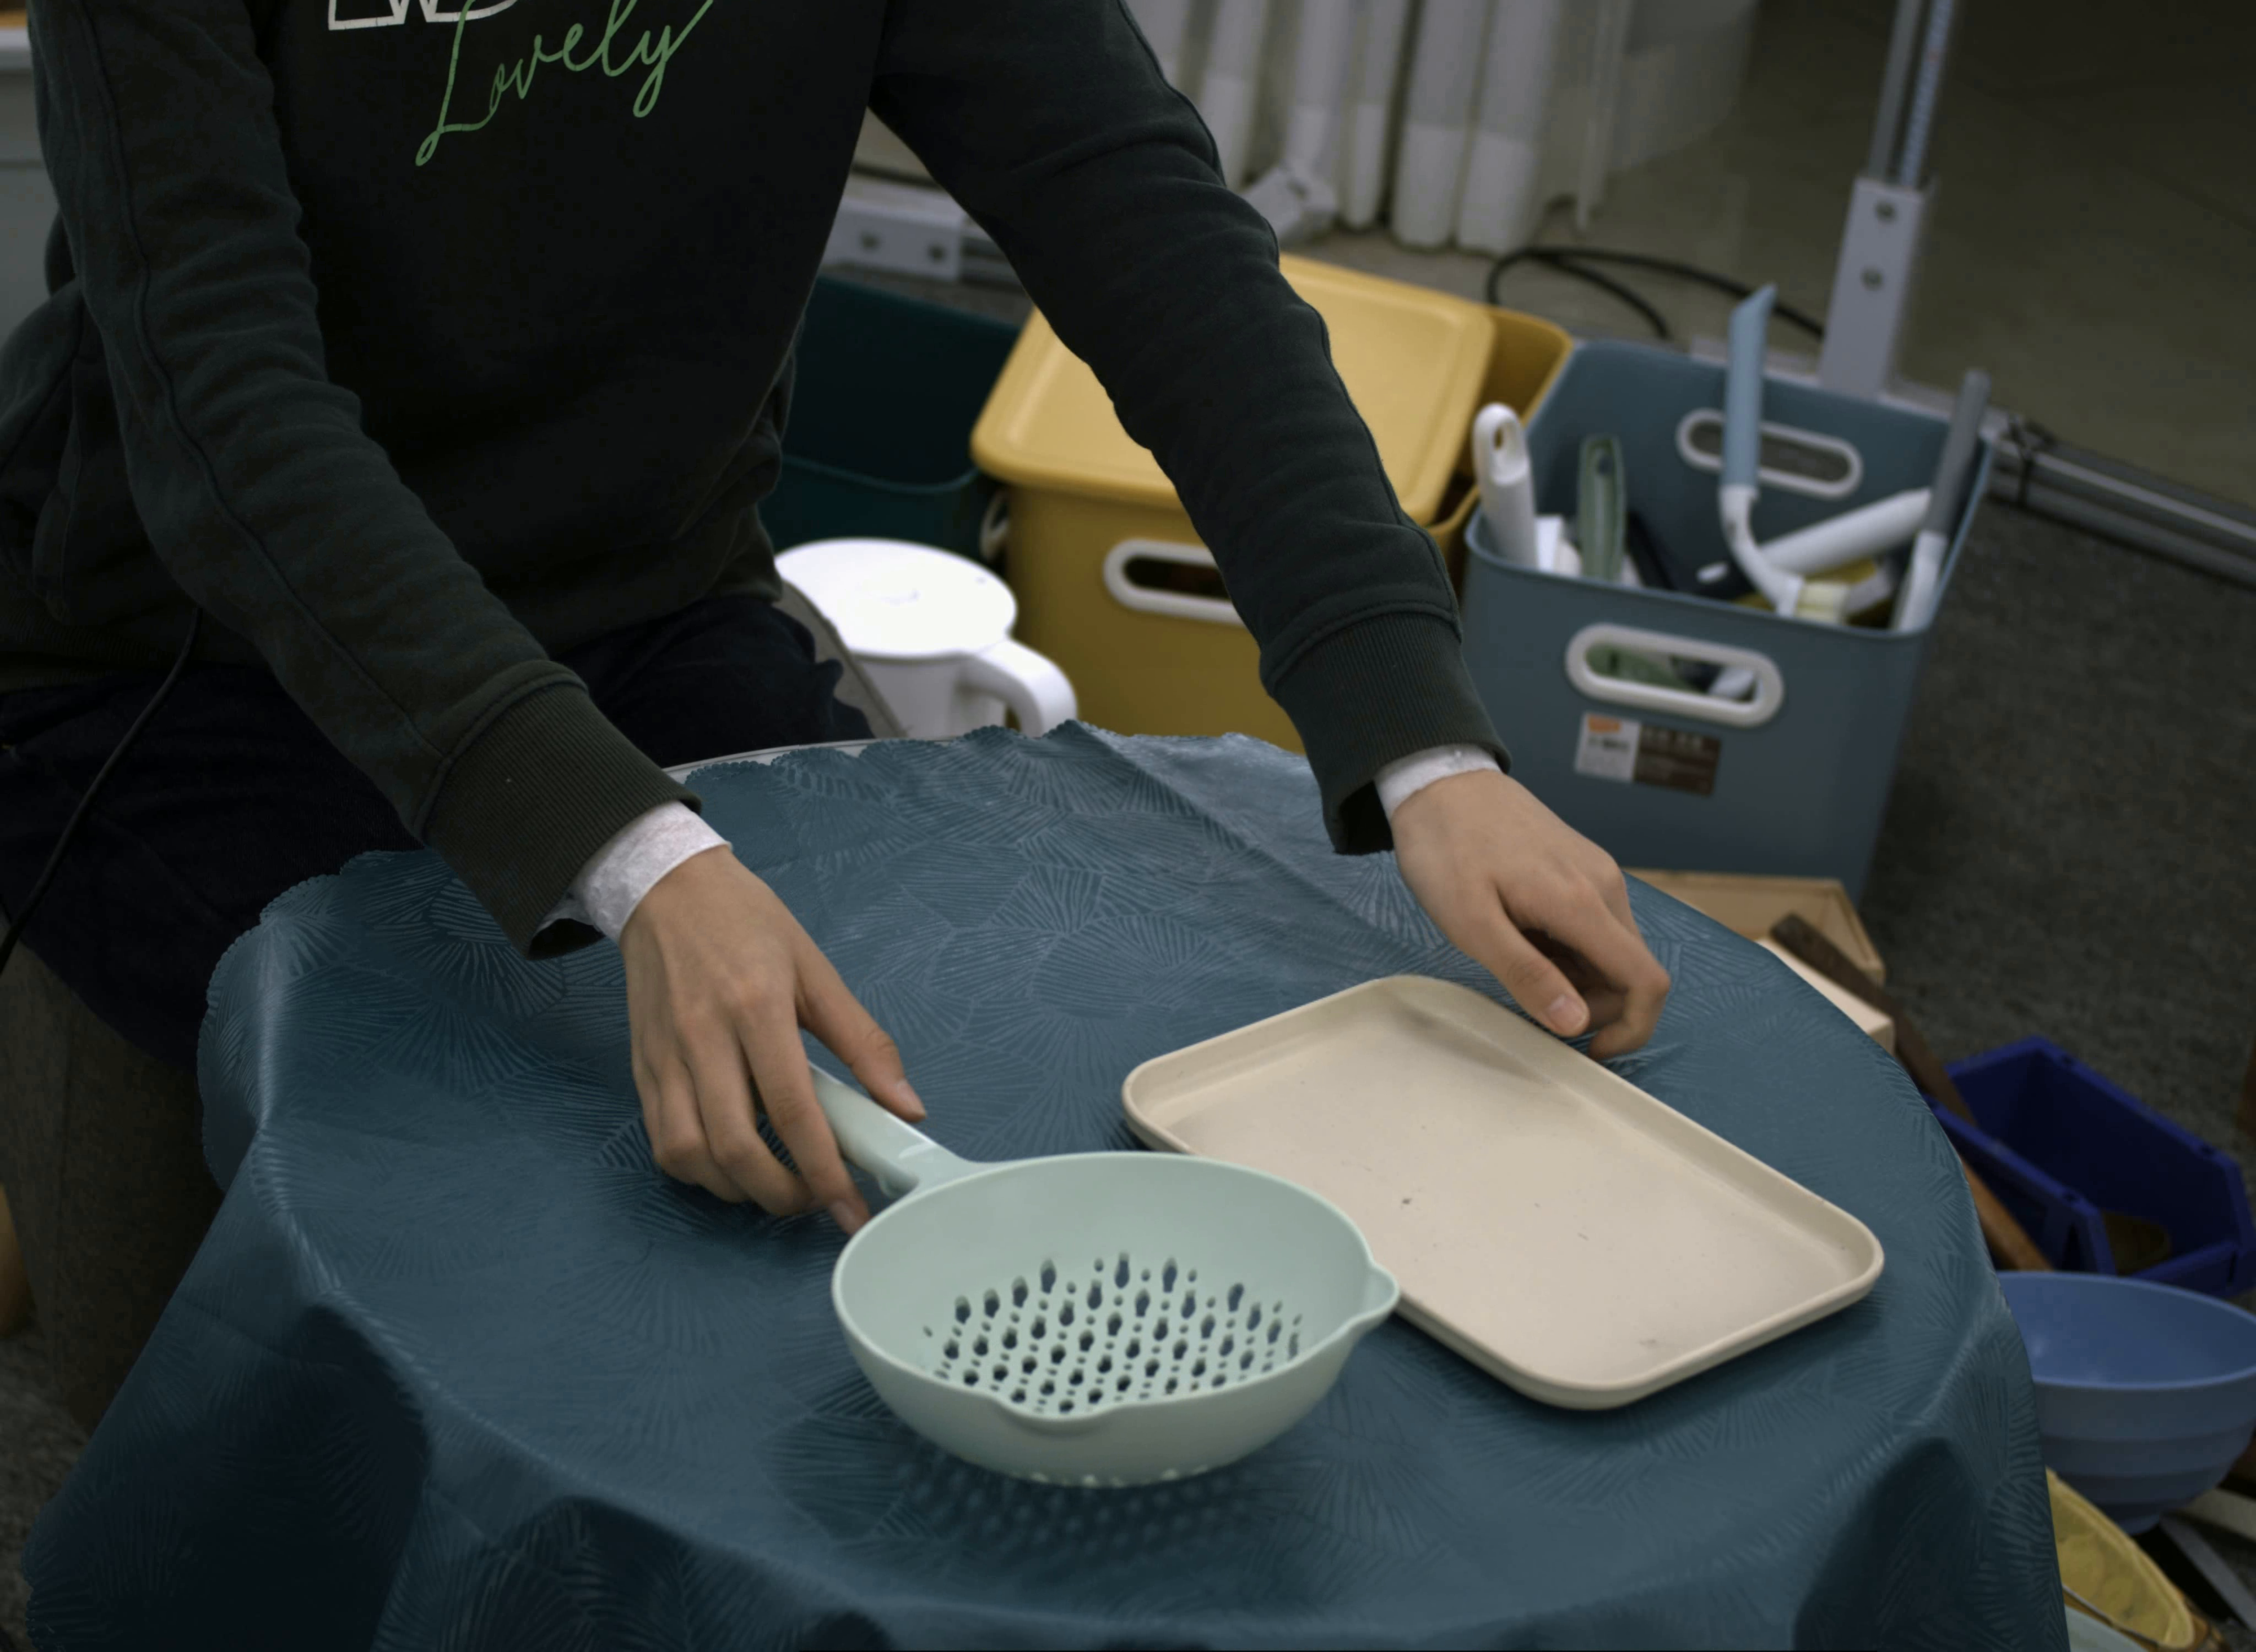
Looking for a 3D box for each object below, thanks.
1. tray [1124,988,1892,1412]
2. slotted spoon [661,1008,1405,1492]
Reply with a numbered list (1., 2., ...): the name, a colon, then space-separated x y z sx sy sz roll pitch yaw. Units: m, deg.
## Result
1. tray: 0.127 0.125 1.808 0.170 0.017 0.241 -17 34 -39
2. slotted spoon: -0.060 0.120 1.722 0.168 0.075 0.362 -15 33 -30
